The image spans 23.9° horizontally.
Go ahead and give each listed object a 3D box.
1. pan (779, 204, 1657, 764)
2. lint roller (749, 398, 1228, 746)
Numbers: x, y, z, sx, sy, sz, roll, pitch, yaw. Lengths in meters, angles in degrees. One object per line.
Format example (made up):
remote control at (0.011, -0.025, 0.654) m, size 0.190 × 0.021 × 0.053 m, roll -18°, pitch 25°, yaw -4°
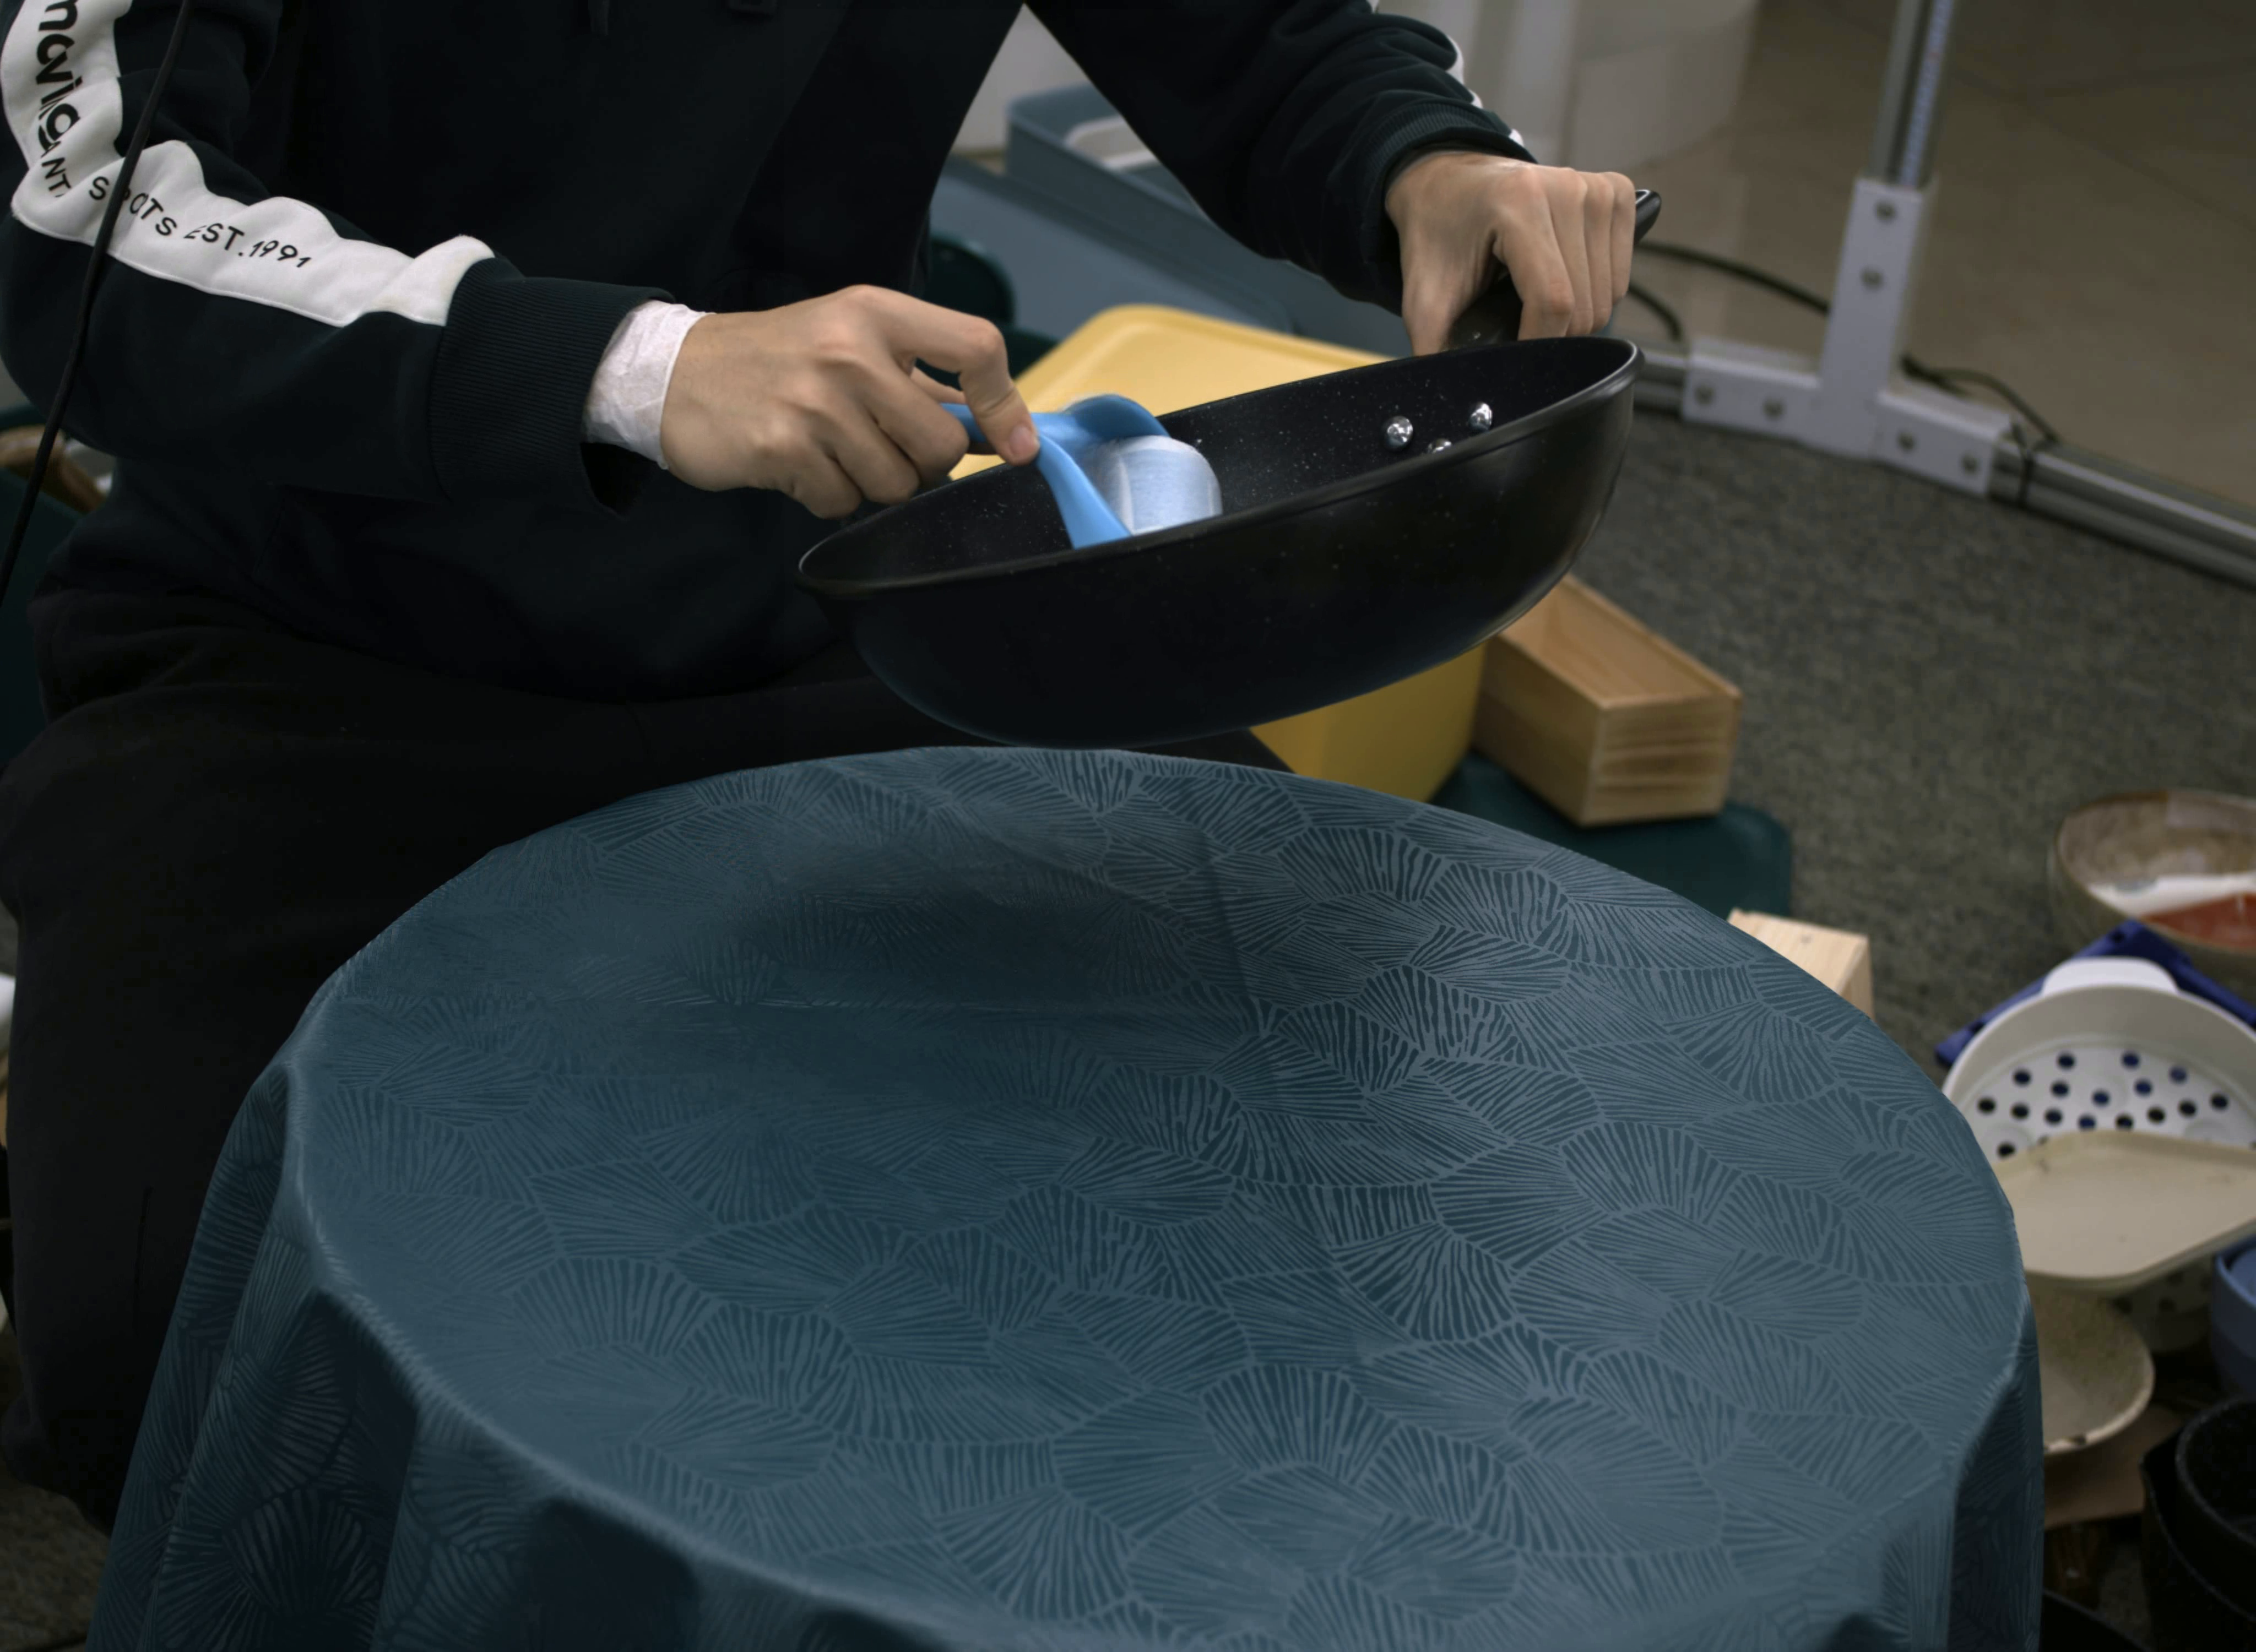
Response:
pan at (0.080, -0.122, 1.931) m, size 0.311 × 0.111 × 0.475 m, roll -6°, pitch 14°, yaw 36°
lint roller at (-0.039, -0.110, 1.871) m, size 0.179 × 0.068 × 0.230 m, roll 24°, pitch 19°, yaw -12°
